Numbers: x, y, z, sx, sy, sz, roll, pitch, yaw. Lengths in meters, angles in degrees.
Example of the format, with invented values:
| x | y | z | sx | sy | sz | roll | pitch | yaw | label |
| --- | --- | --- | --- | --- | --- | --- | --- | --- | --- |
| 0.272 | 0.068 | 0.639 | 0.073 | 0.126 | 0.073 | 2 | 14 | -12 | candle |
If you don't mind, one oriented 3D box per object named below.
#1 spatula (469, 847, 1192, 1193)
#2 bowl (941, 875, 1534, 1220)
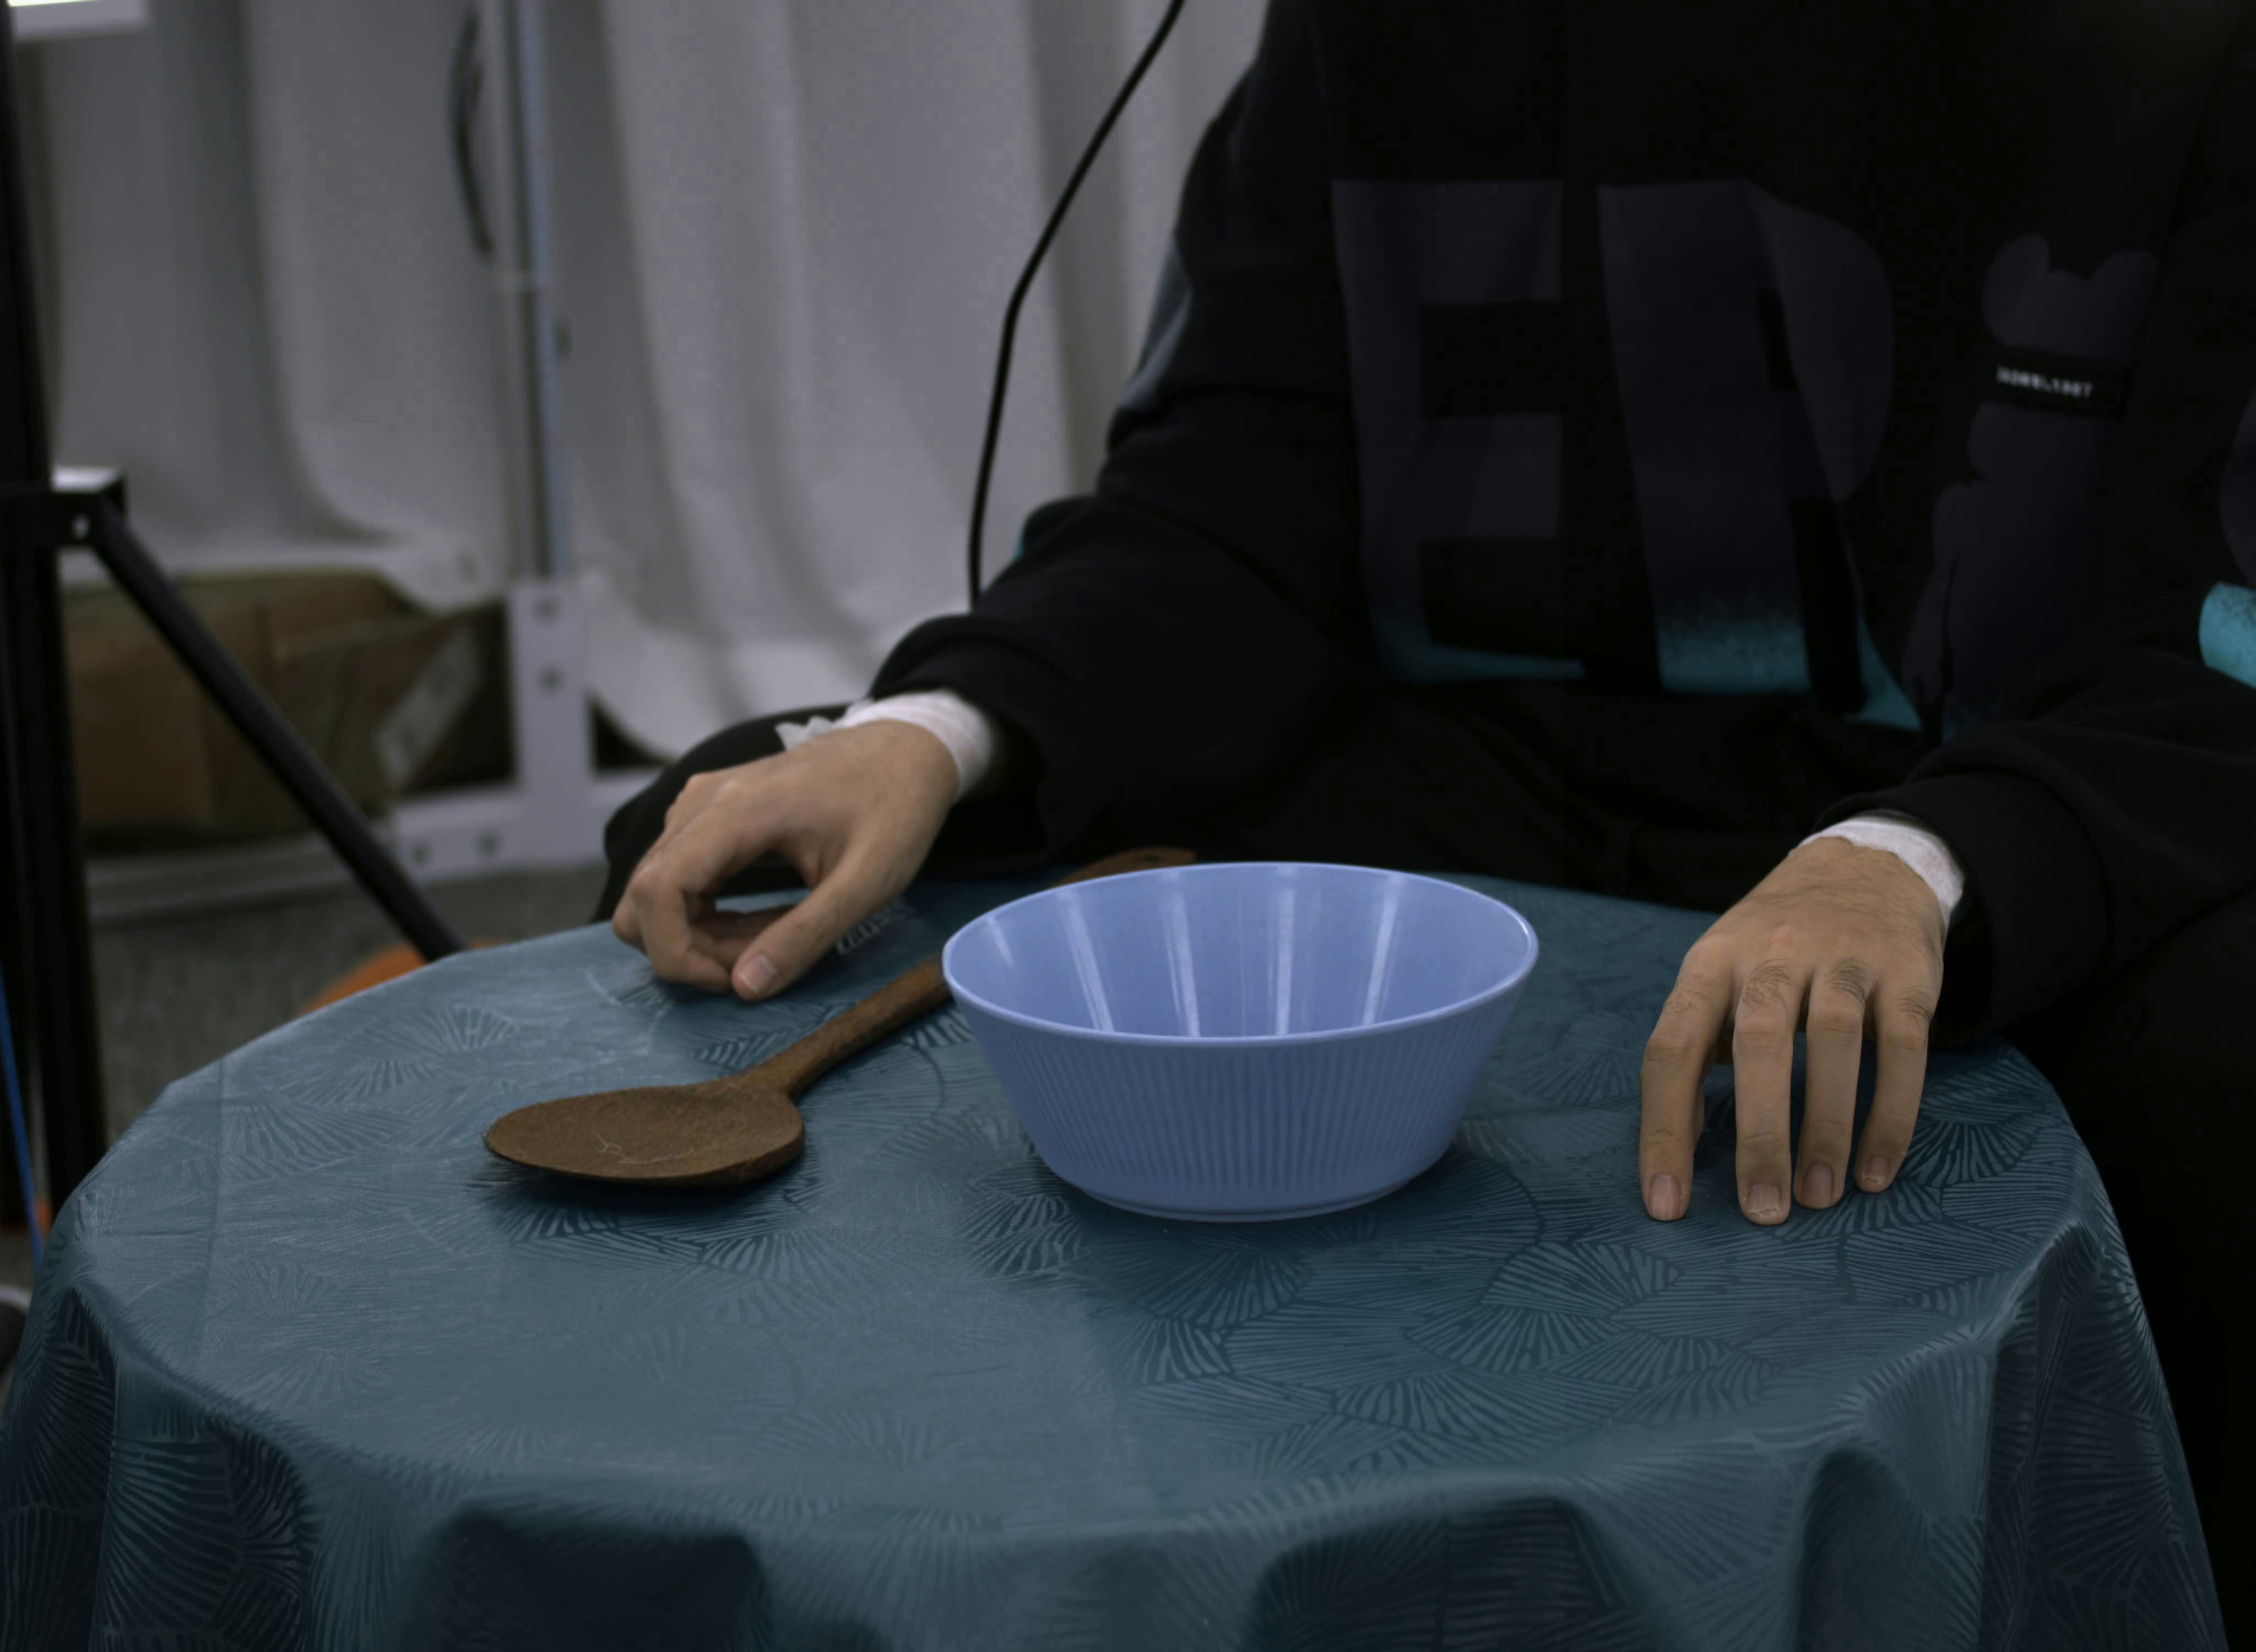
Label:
| x | y | z | sx | sy | sz | roll | pitch | yaw | label |
| --- | --- | --- | --- | --- | --- | --- | --- | --- | --- |
| -0.074 | 0.057 | 1.725 | 0.098 | 0.016 | 0.379 | 7 | 18 | 28 | spatula |
| 0.033 | 0.067 | 1.569 | 0.175 | 0.070 | 0.177 | -2 | 15 | -1 | bowl |
